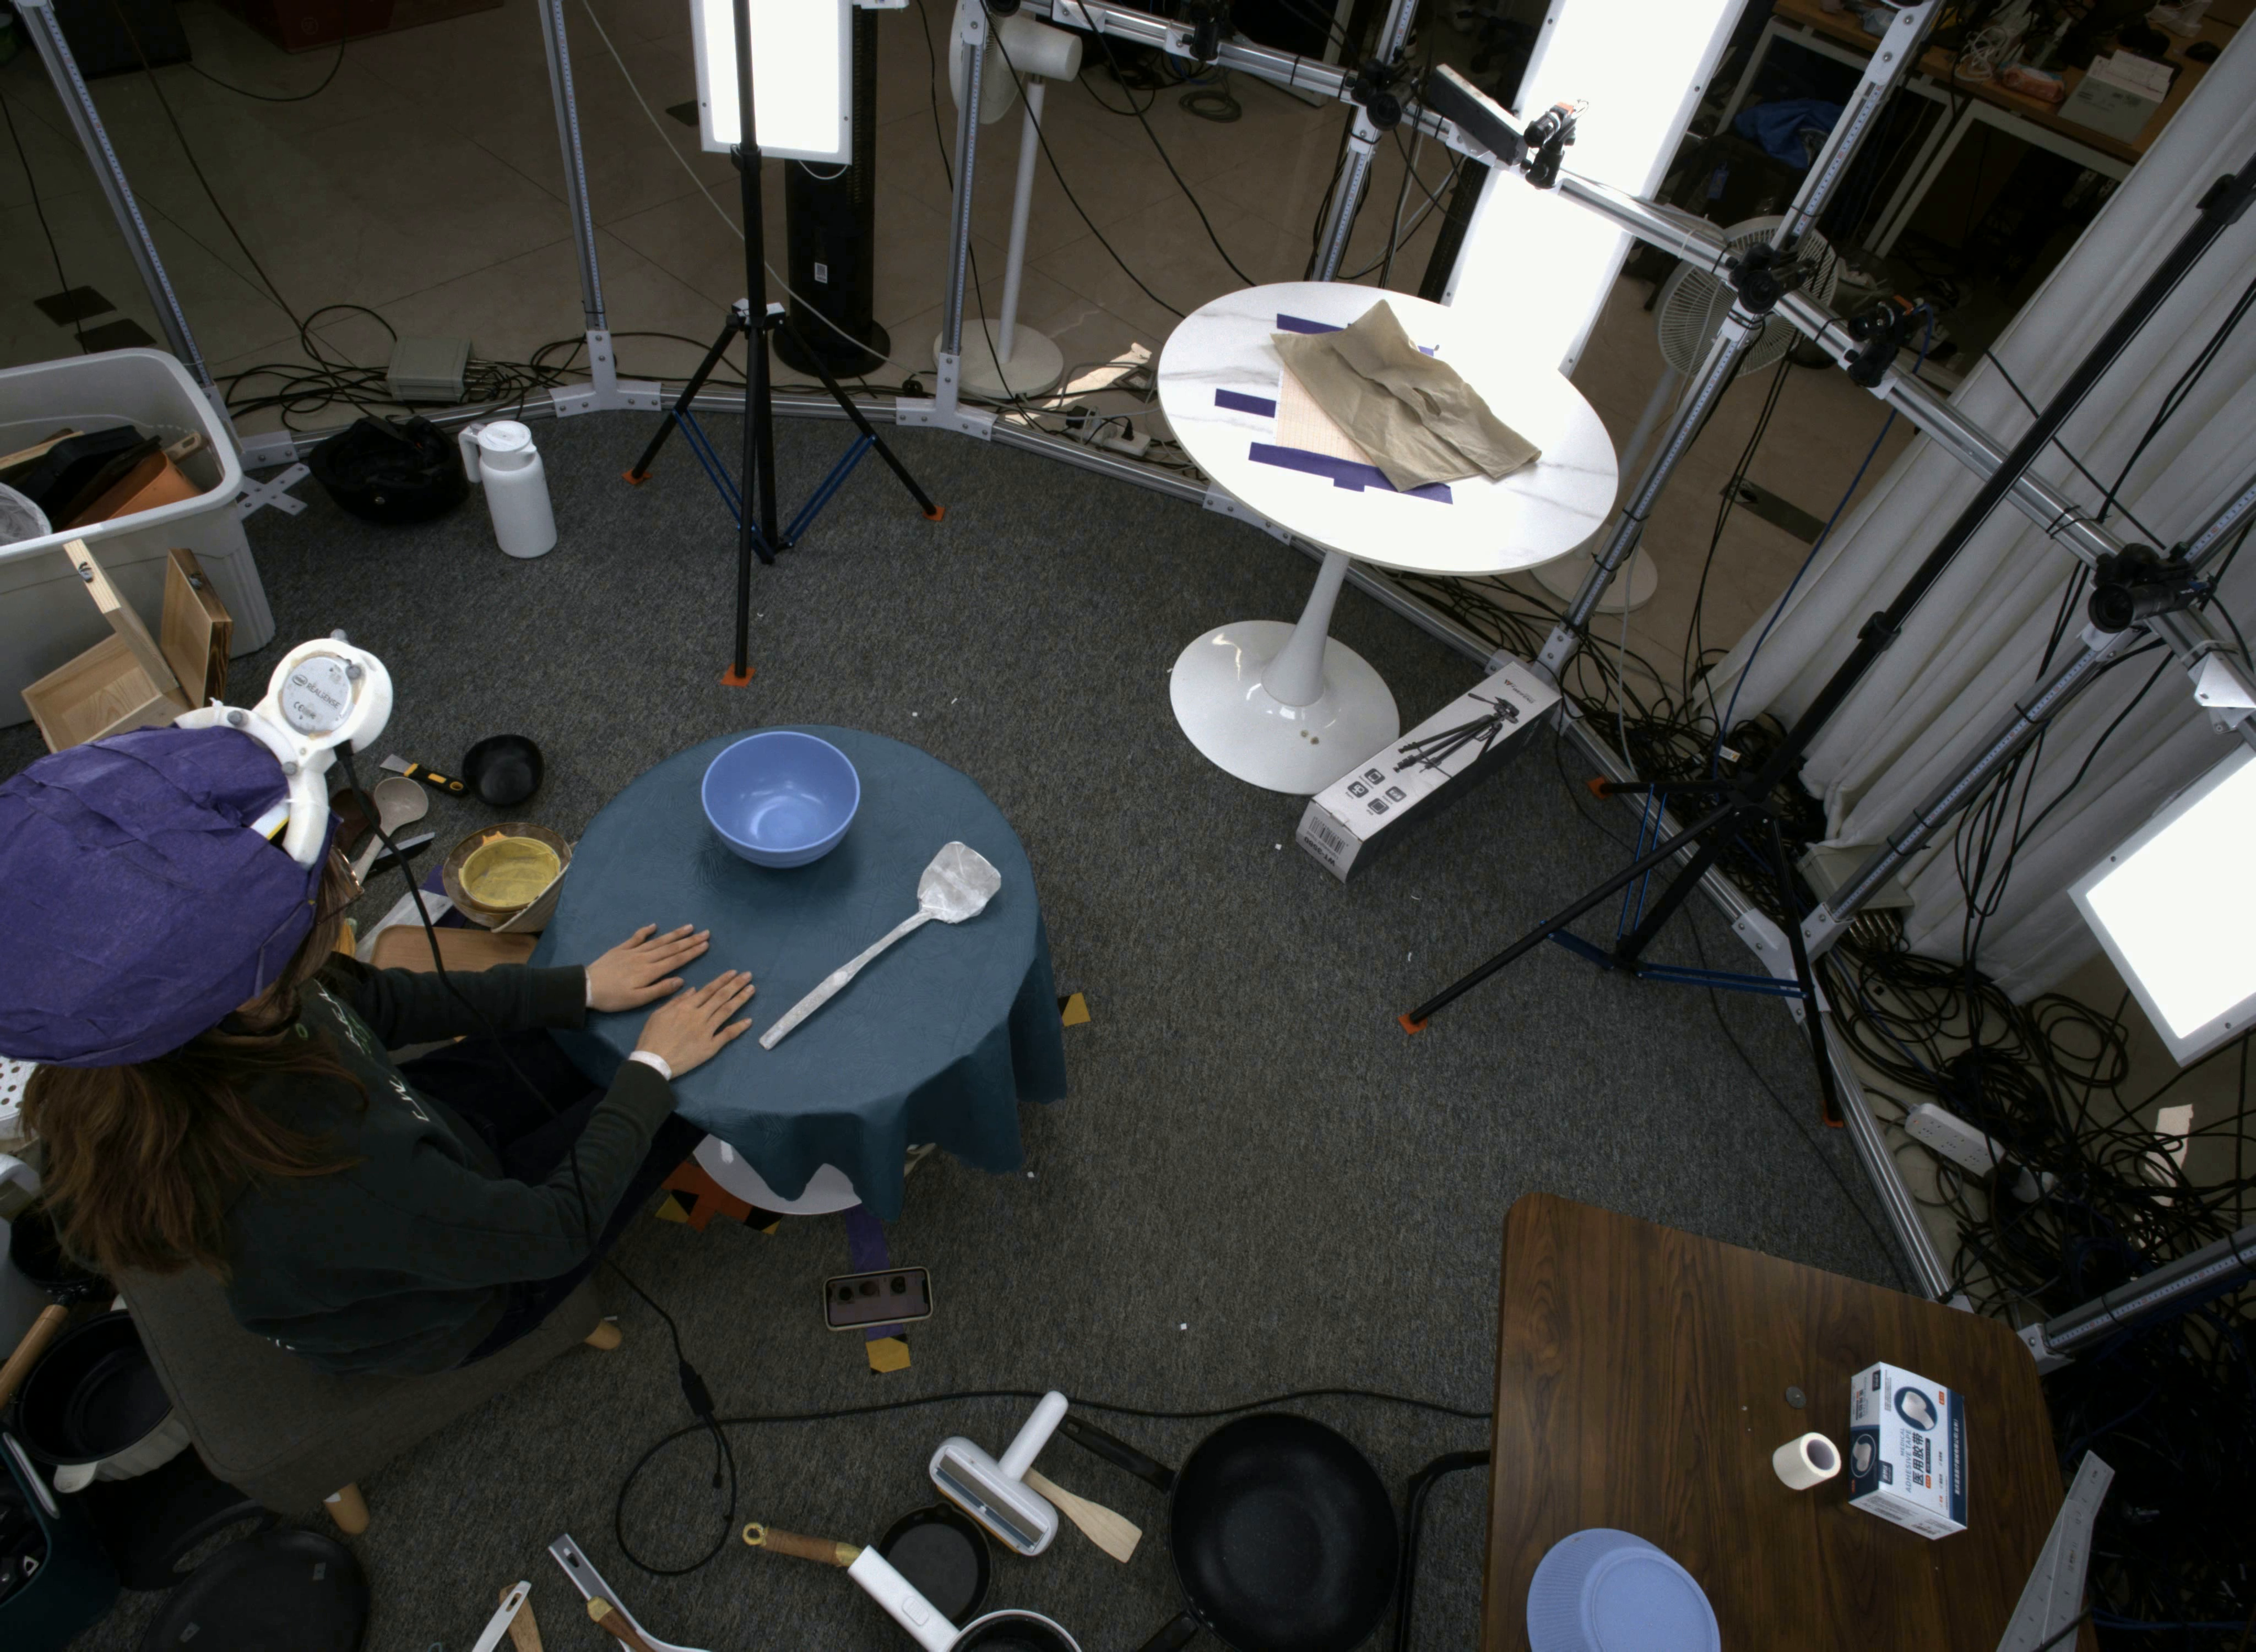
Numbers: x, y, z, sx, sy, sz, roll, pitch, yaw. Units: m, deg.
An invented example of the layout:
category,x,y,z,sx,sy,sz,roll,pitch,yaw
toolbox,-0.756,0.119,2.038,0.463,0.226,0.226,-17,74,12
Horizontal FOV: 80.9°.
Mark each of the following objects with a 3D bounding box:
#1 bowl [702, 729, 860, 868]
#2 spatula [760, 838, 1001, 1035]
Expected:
category,x,y,z,sx,sy,sz,roll,pitch,yaw
bowl,-0.447,-0.021,1.677,0.196,0.097,0.193,9,52,-10
spatula,-0.311,0.143,1.627,0.097,0.045,0.365,40,54,15
